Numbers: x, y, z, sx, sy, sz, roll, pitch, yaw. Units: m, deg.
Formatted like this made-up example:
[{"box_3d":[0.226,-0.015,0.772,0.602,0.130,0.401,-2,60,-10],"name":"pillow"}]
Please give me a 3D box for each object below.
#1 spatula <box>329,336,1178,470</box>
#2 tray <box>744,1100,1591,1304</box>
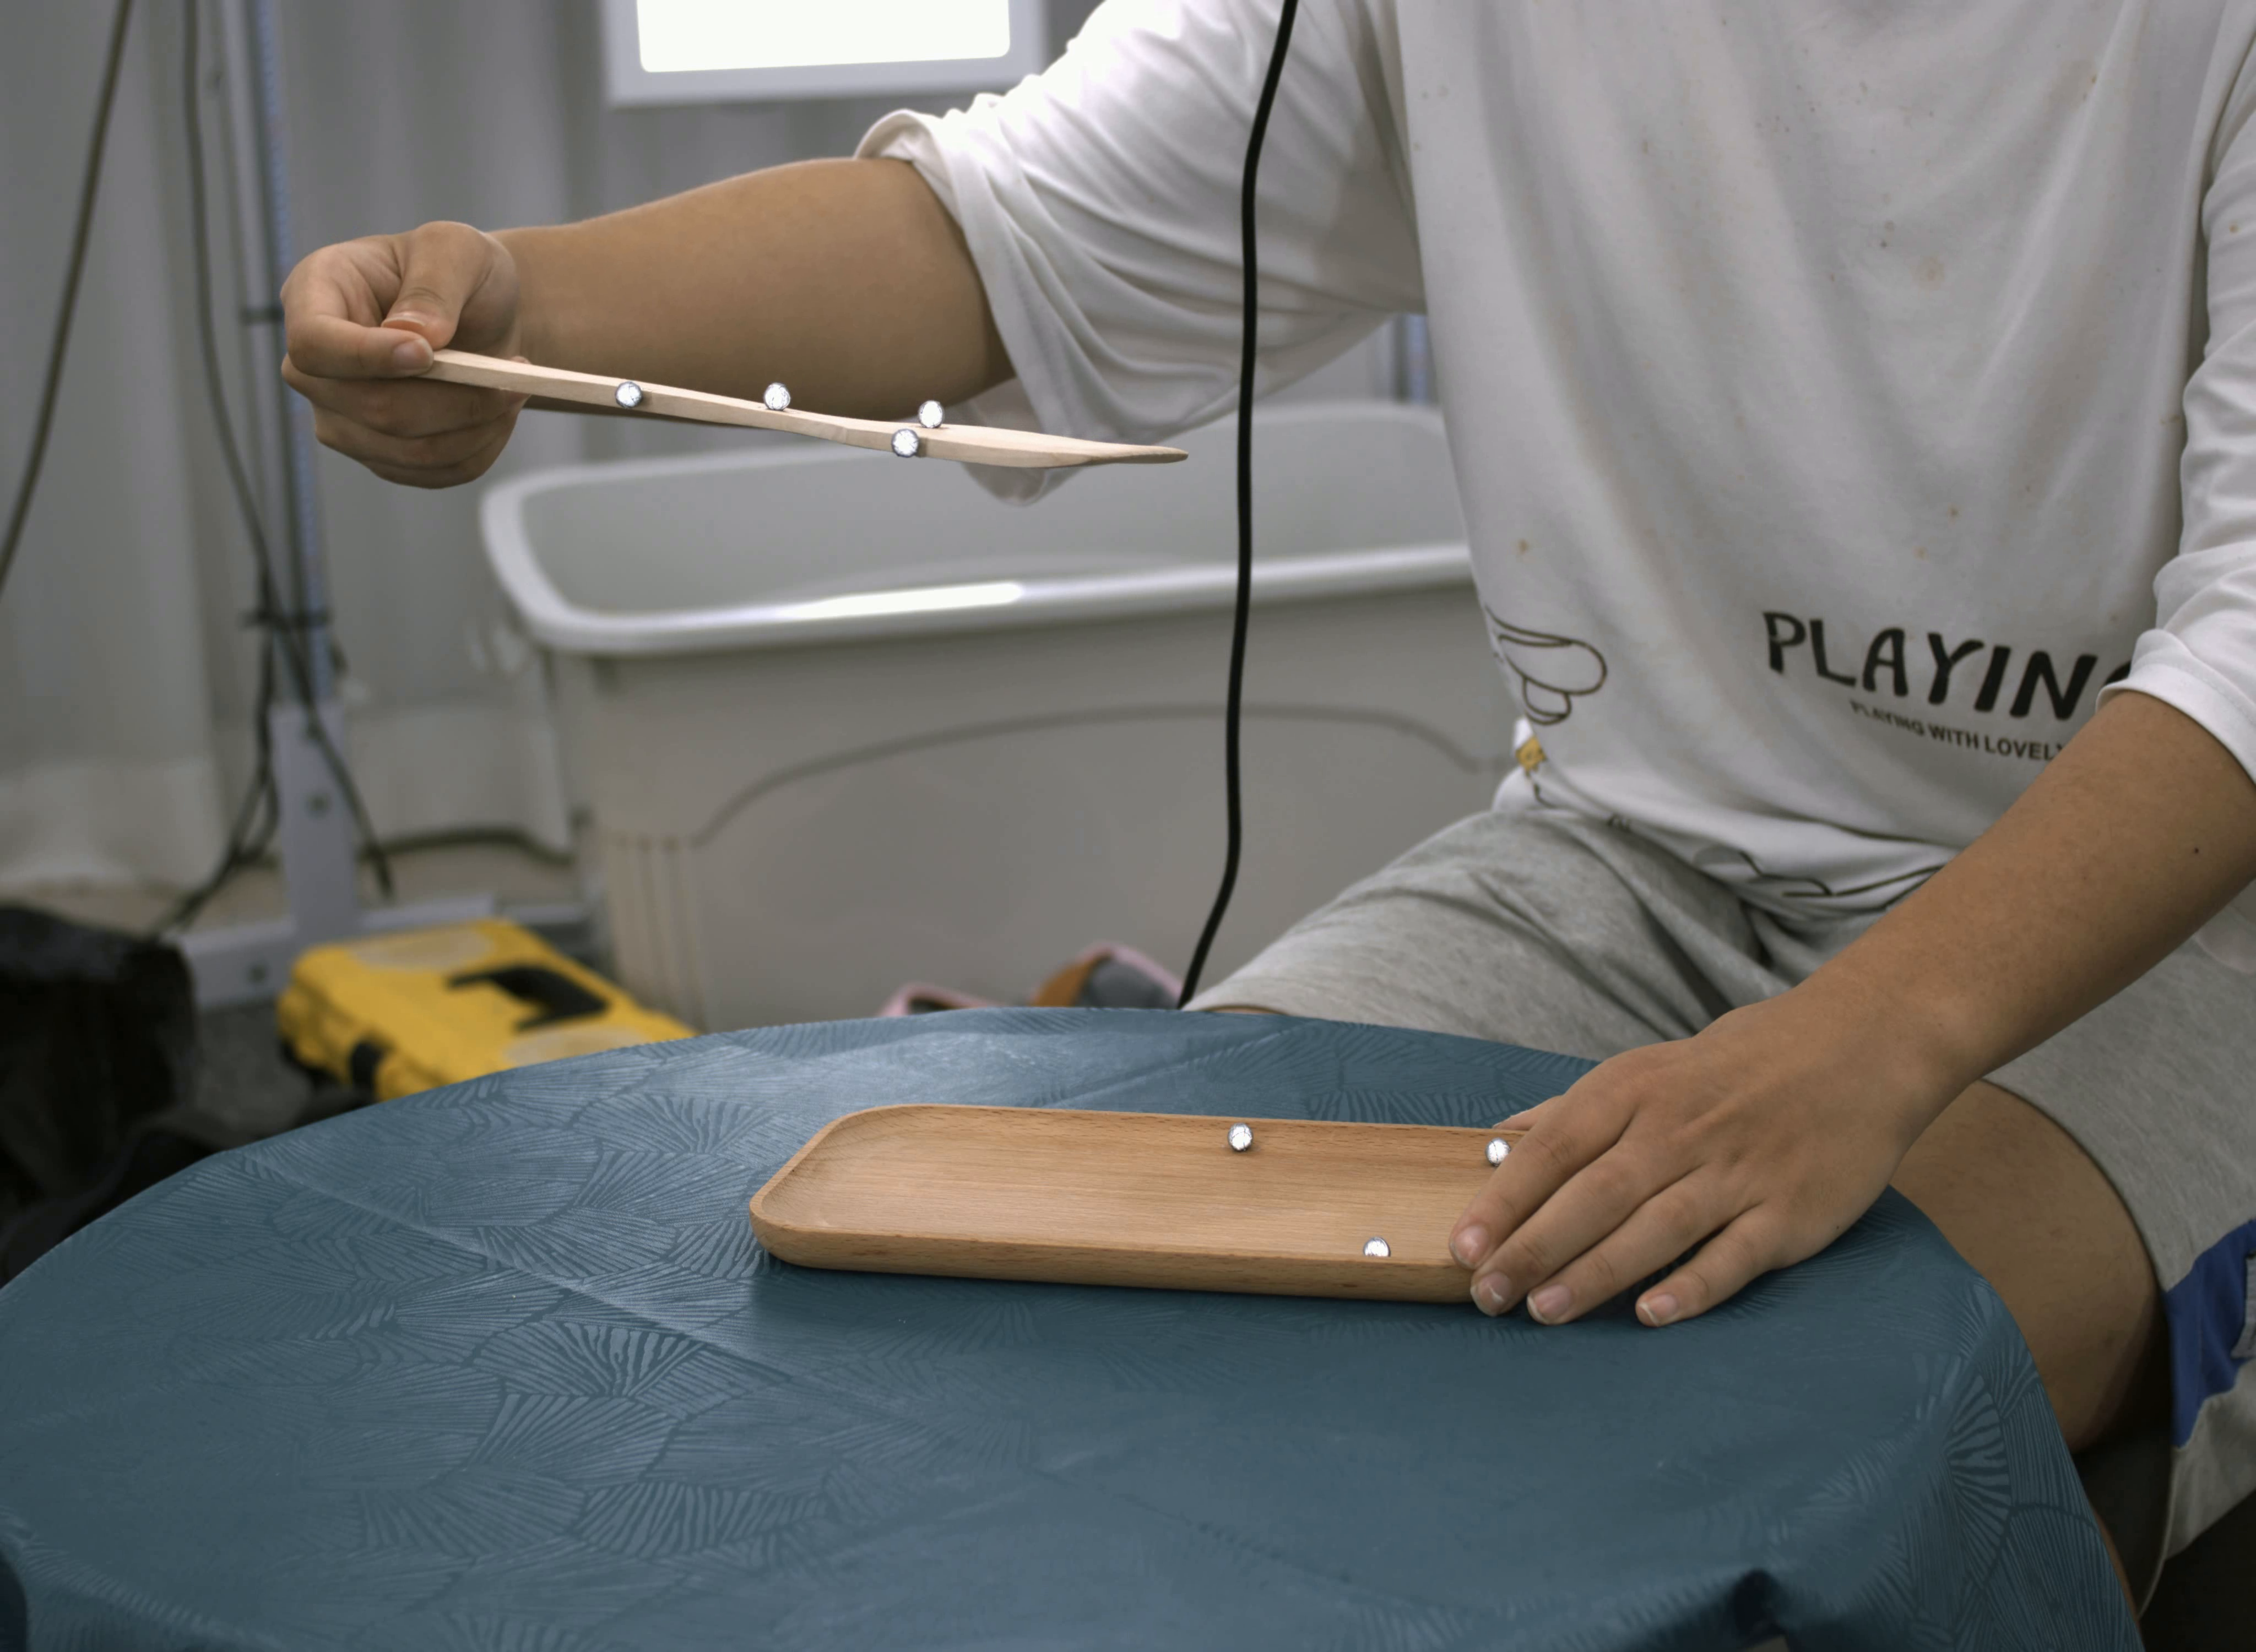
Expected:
[{"box_3d":[-0.127,-0.131,1.710,0.294,0.010,0.072,10,10,27],"name":"spatula"},{"box_3d":[0.013,0.115,1.685,0.250,0.023,0.131,1,13,17],"name":"tray"}]
